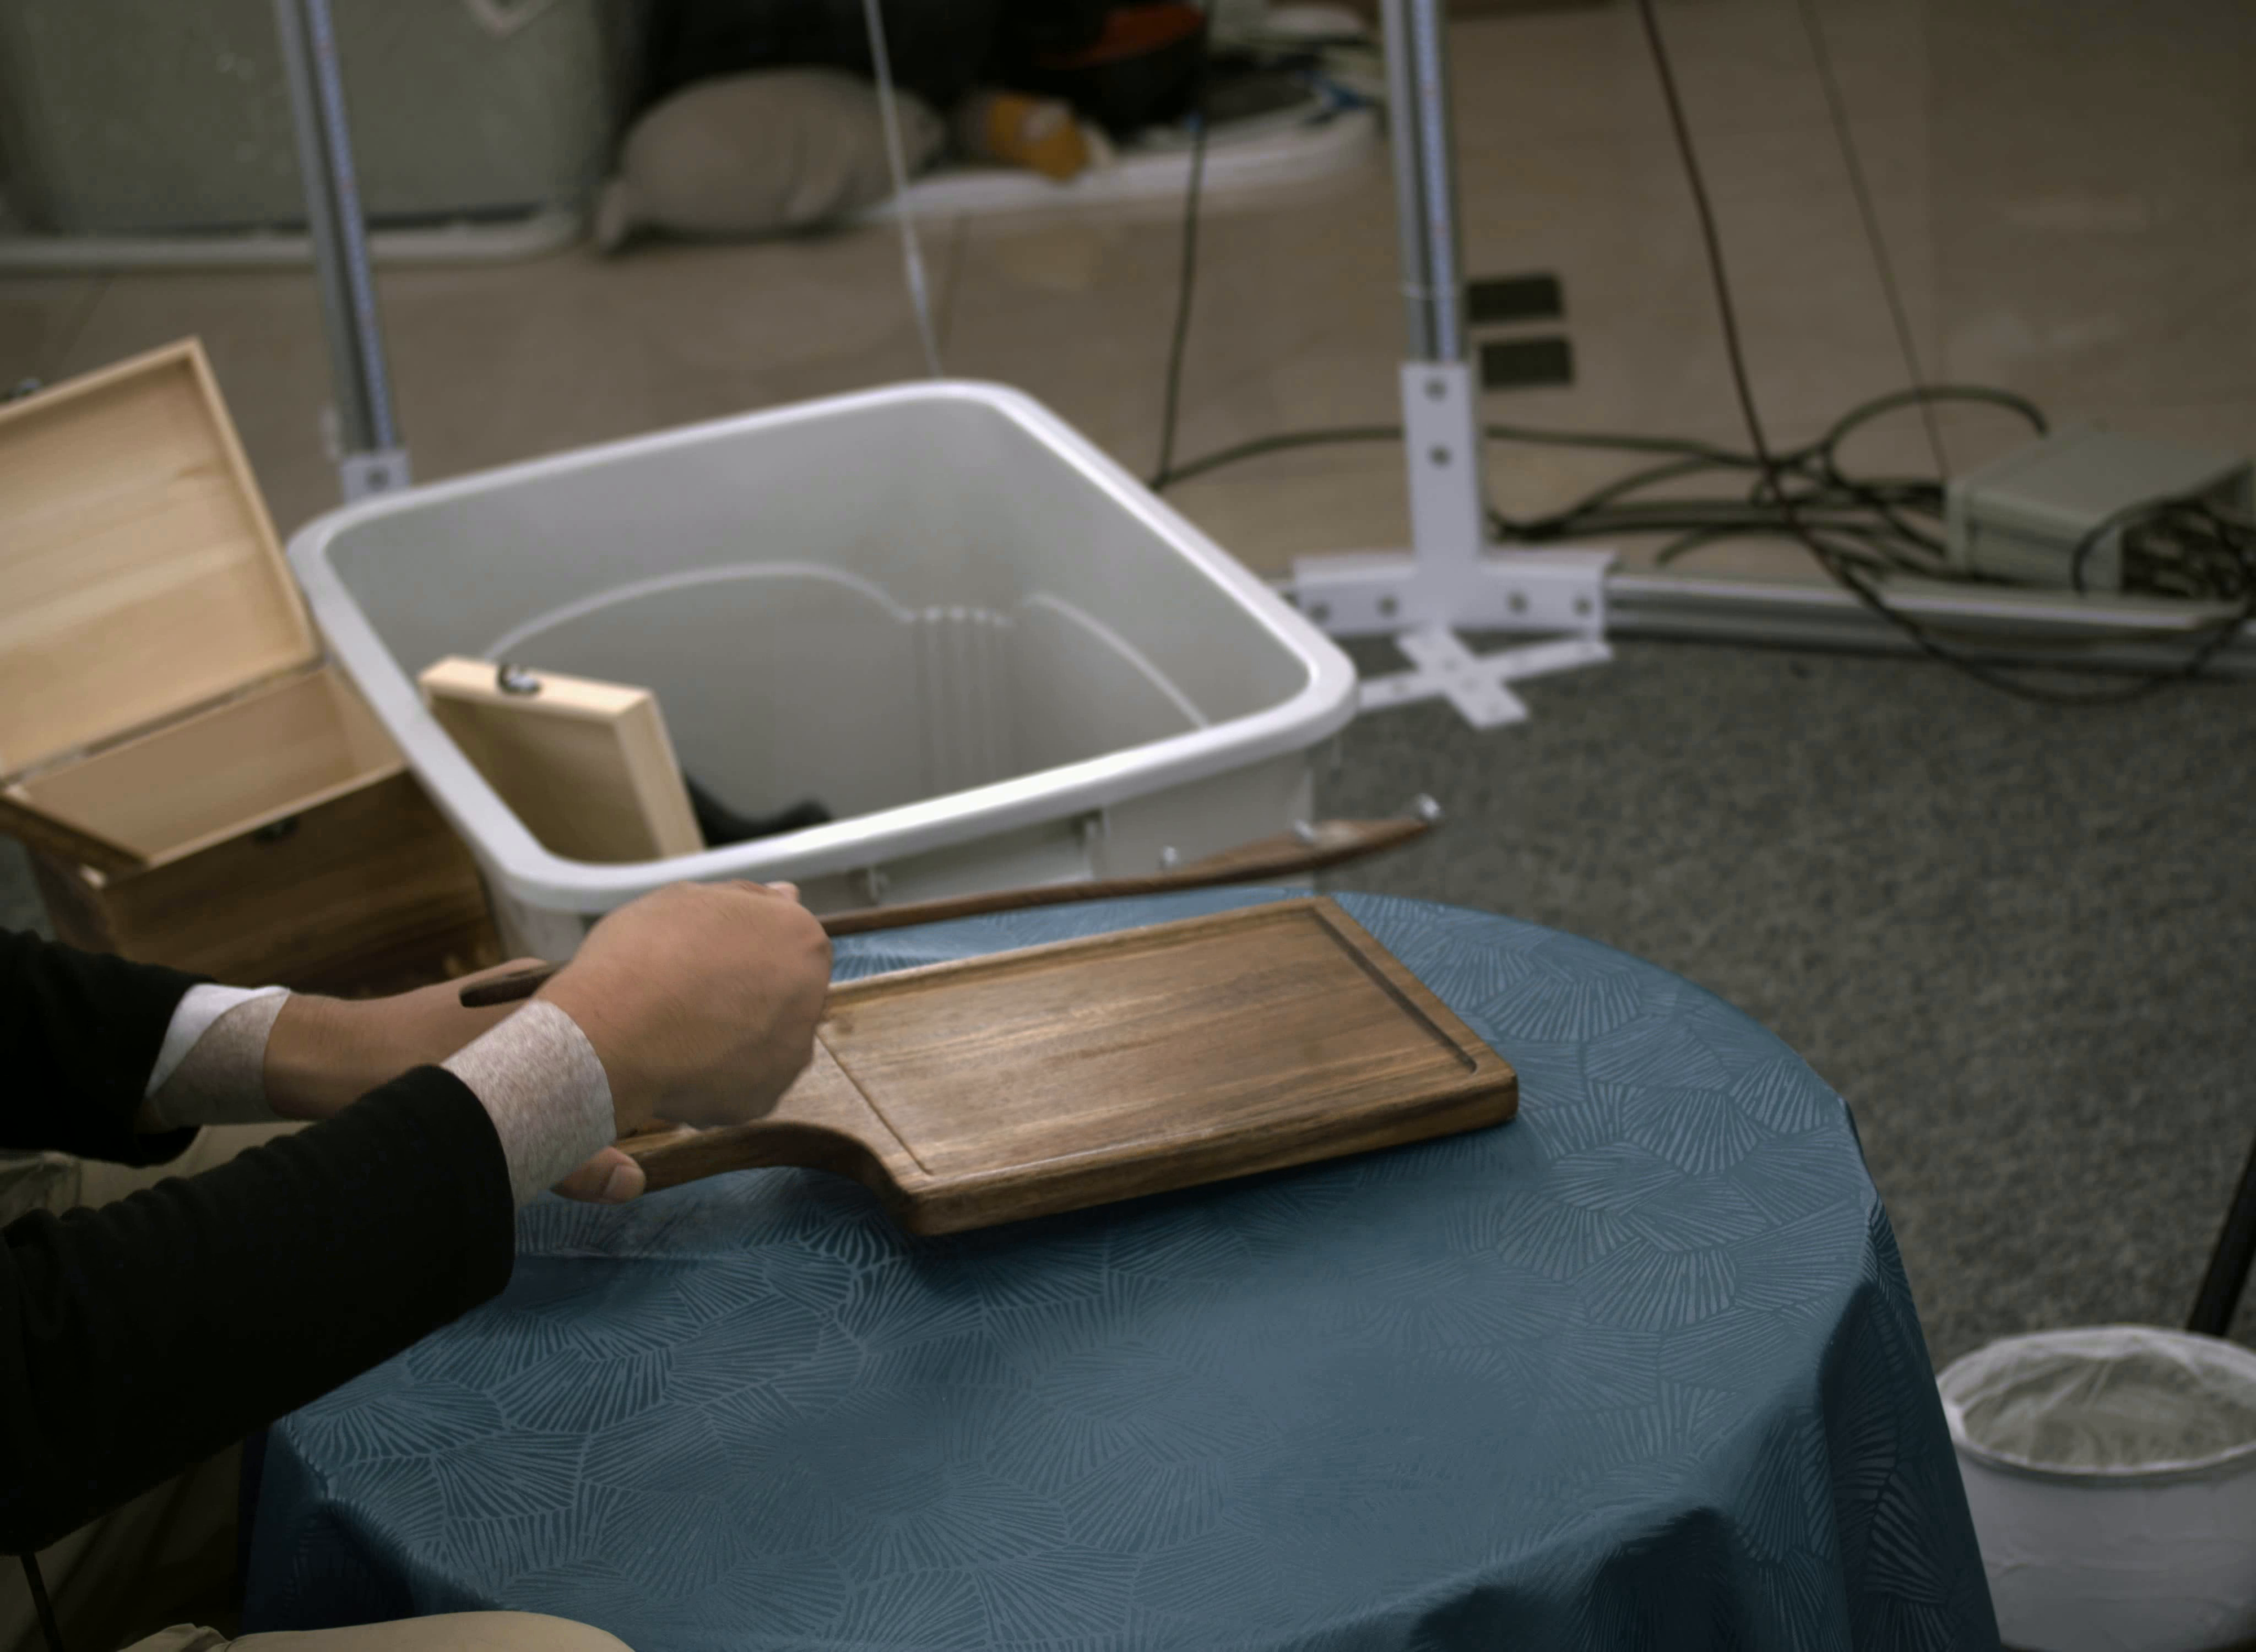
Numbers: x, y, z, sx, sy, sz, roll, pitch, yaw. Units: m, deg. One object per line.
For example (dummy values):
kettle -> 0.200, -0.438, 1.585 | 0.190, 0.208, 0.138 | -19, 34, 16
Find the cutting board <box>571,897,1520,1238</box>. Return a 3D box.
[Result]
cutting board -> -0.046, 0.098, 2.191 | 0.351, 0.023, 0.198 | -10, 24, -19

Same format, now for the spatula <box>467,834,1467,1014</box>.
spatula -> -0.057, 0.034, 2.051 | 0.385, 0.016, 0.096 | -8, 4, -24
